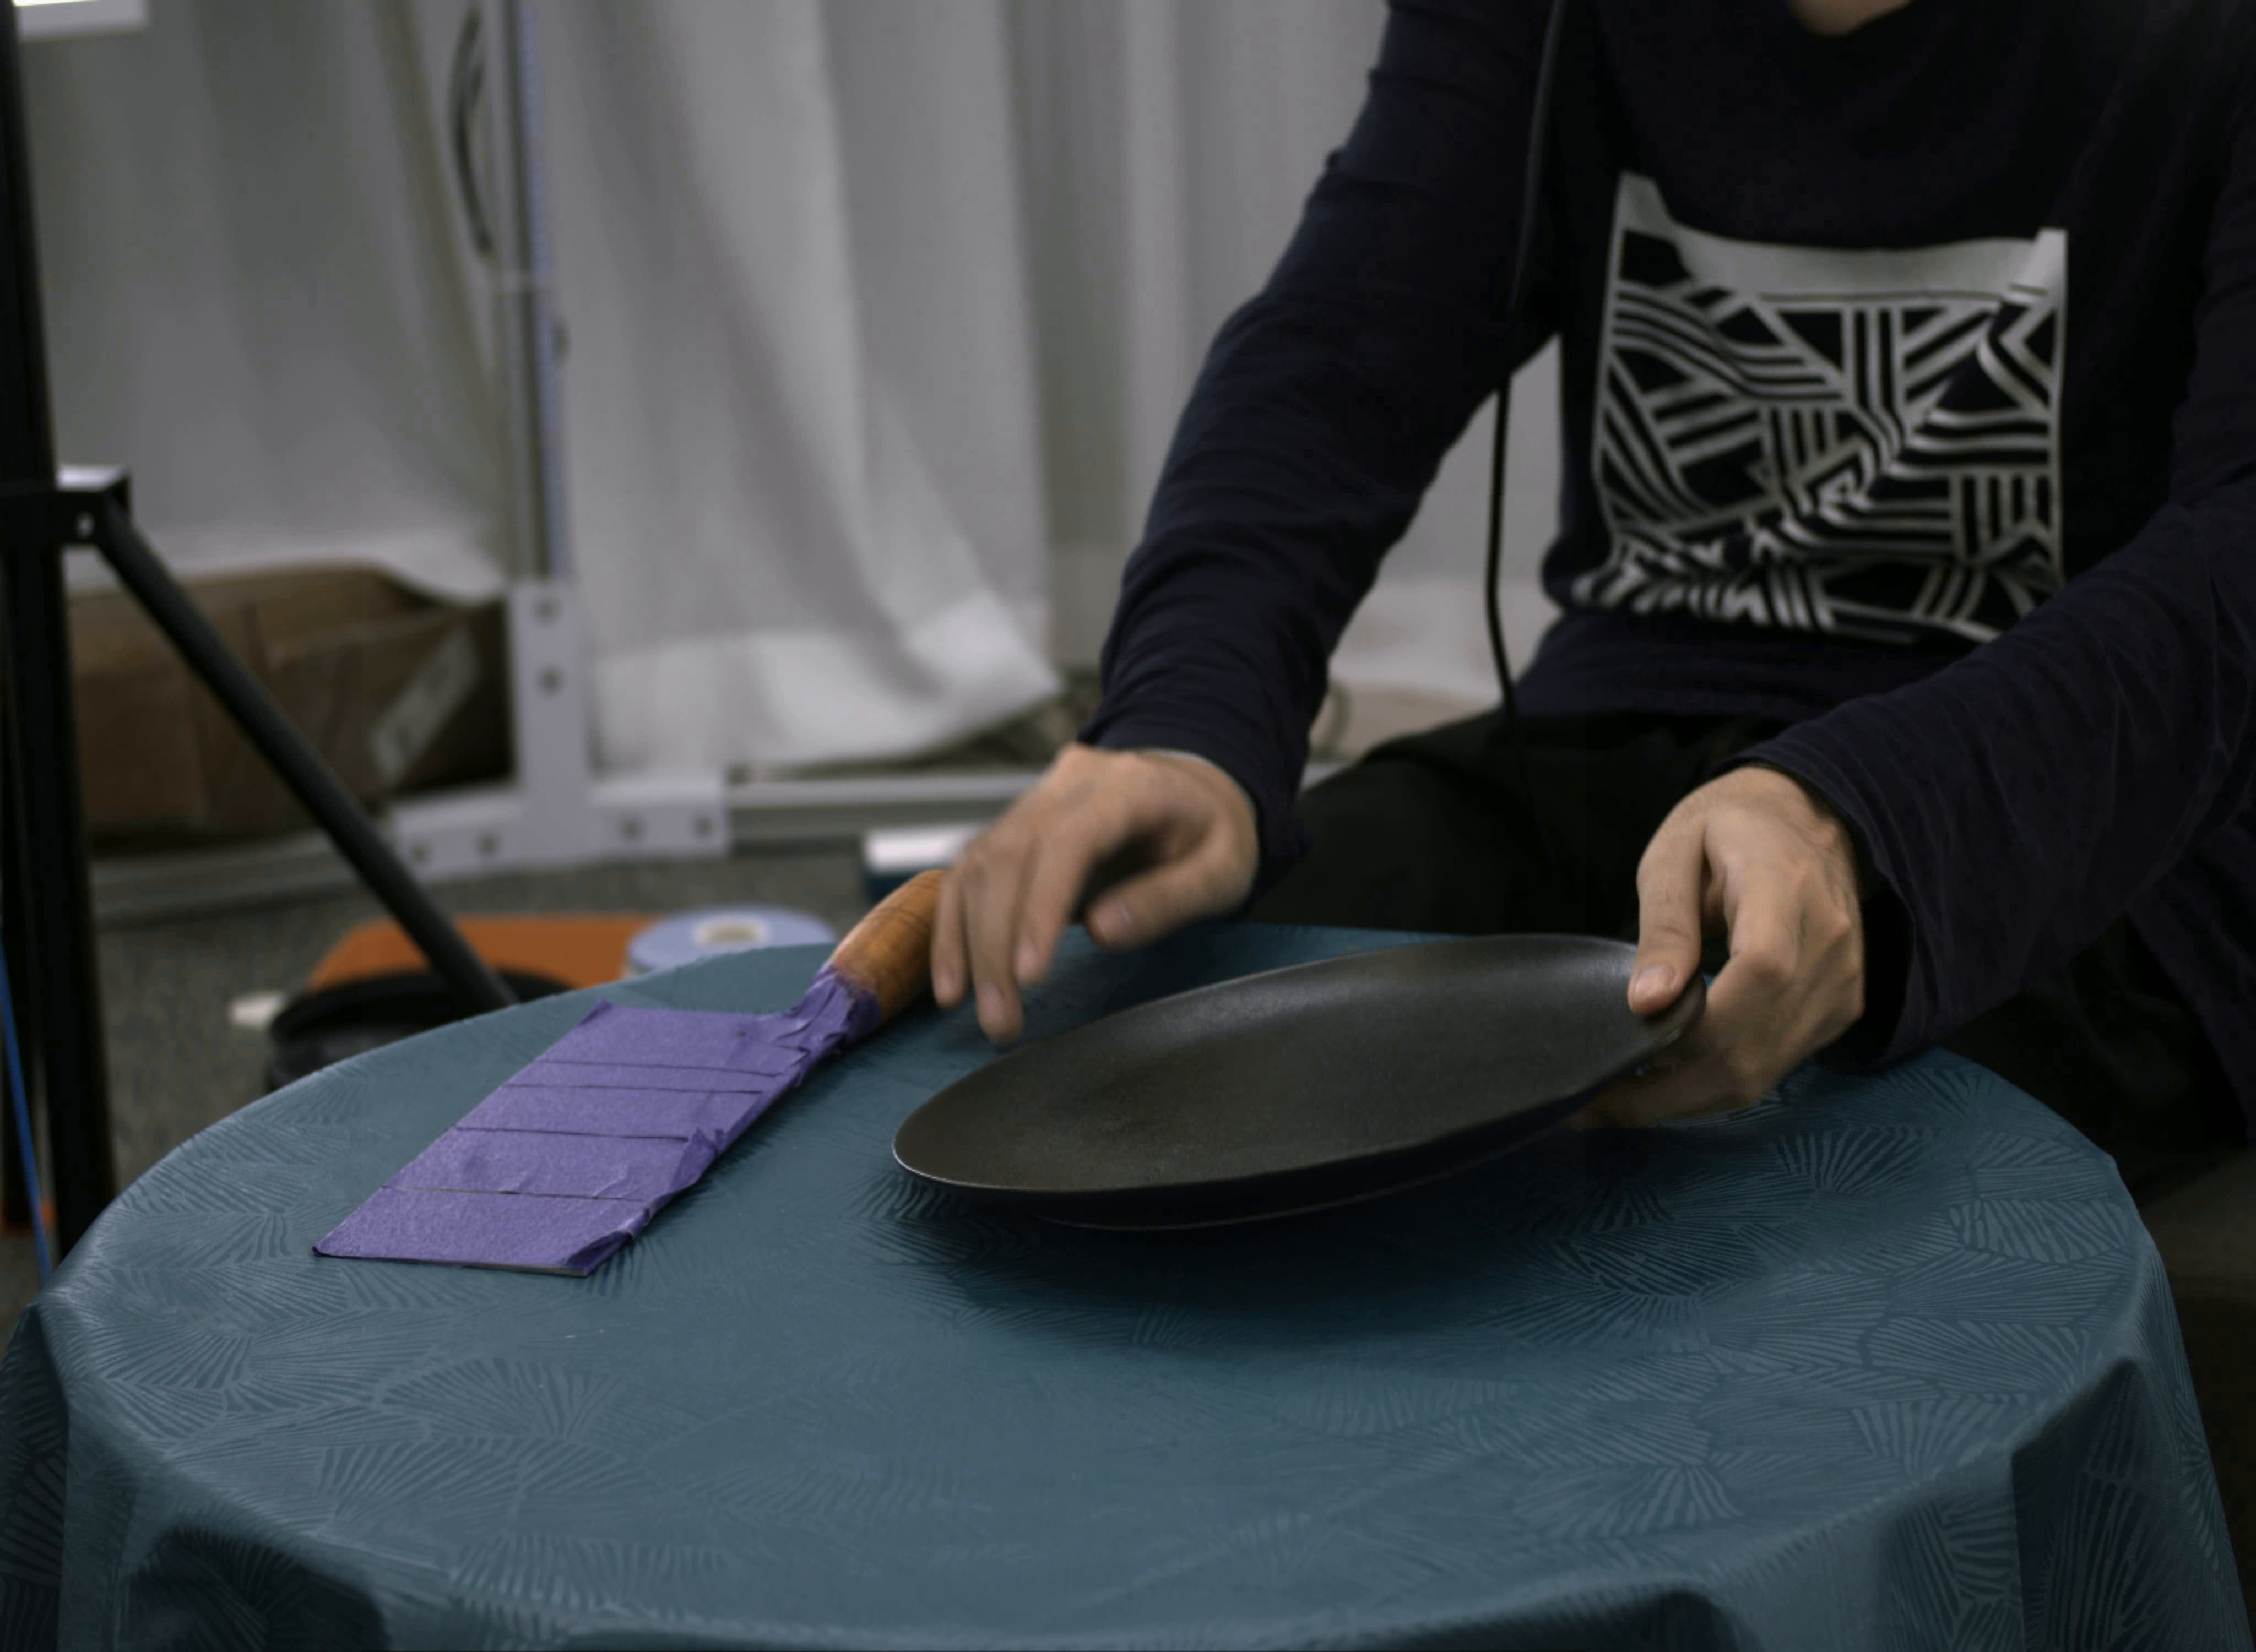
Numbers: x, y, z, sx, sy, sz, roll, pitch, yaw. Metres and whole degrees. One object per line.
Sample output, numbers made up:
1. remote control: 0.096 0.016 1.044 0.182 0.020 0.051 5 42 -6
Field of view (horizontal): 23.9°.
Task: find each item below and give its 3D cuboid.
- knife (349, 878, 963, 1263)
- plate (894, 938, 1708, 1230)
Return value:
1. knife: -0.144 0.073 1.661 0.105 0.032 0.312 3 17 18
2. plate: 0.052 0.078 1.558 0.243 0.023 0.245 -12 11 1
